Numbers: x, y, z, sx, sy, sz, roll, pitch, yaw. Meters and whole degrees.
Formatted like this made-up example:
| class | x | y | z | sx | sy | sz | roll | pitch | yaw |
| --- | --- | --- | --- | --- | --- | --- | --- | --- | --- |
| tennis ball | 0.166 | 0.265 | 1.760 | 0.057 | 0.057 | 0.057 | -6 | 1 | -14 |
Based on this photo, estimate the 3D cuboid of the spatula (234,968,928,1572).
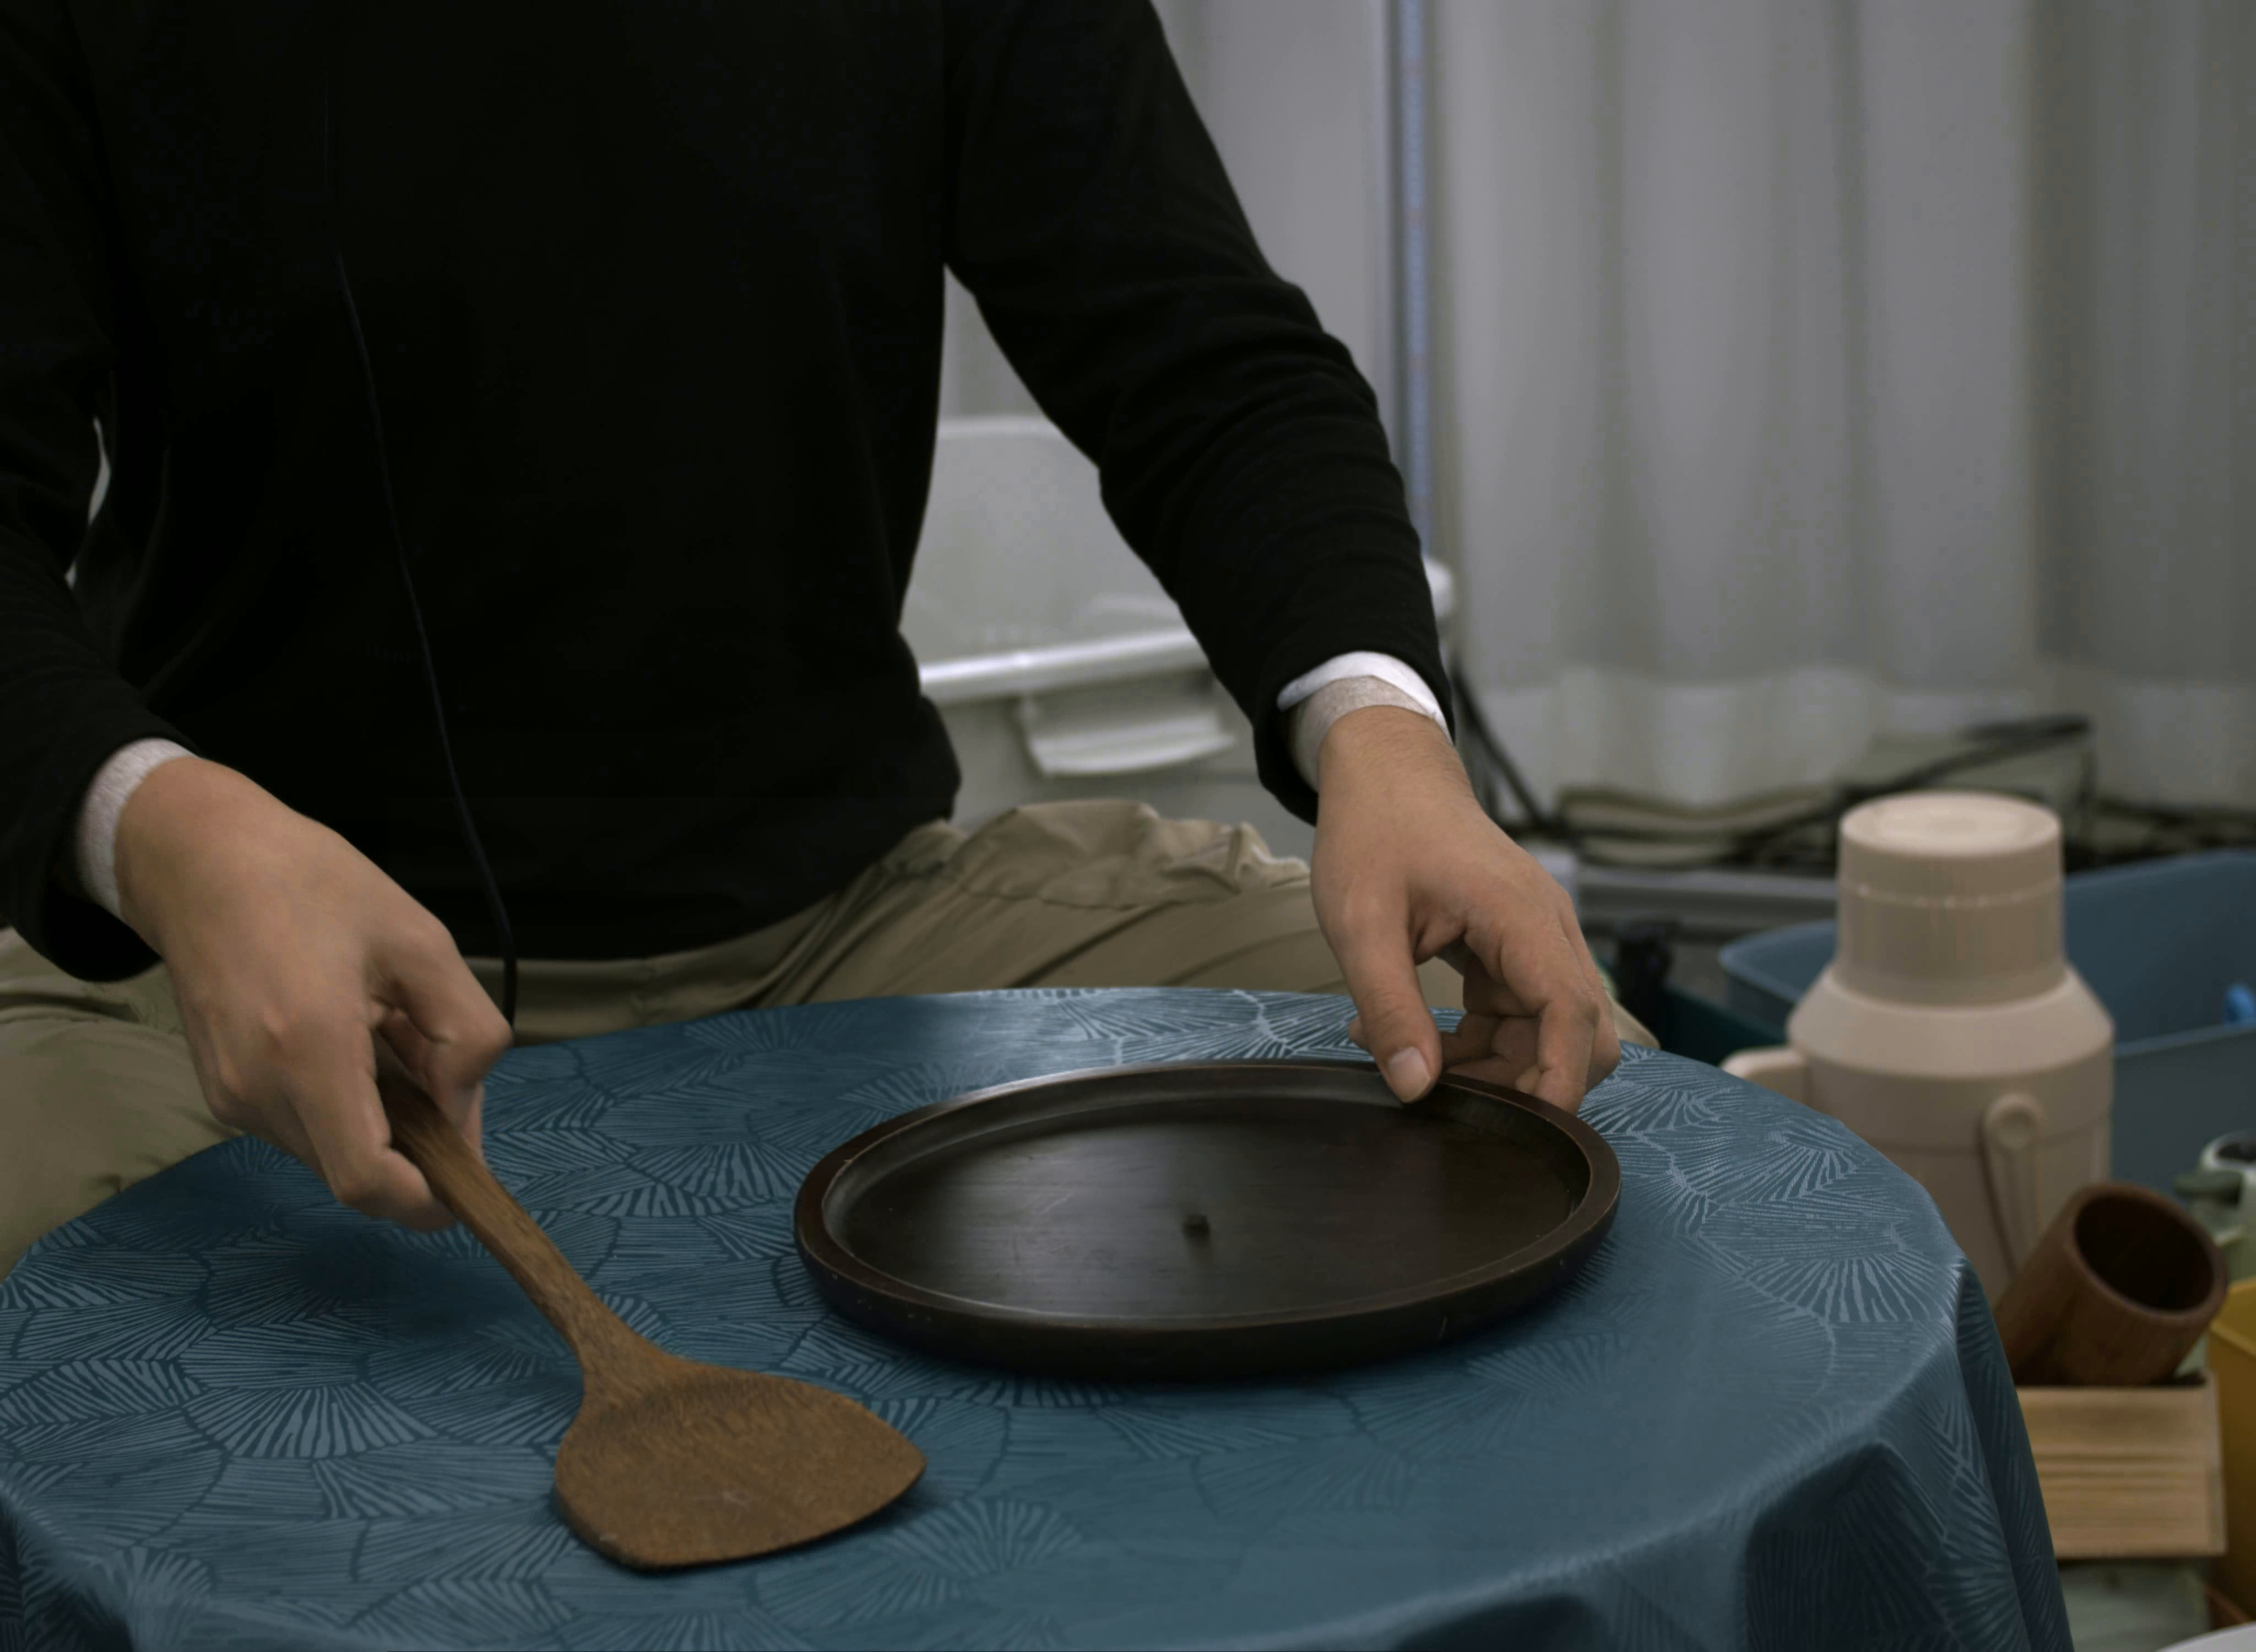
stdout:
| class | x | y | z | sx | sy | sz | roll | pitch | yaw |
| --- | --- | --- | --- | --- | --- | --- | --- | --- | --- |
| spatula | -0.181 | 0.119 | 1.592 | 0.096 | 0.015 | 0.390 | -14 | 29 | -26 |

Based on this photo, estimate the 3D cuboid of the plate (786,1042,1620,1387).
| class | x | y | z | sx | sy | sz | roll | pitch | yaw |
| --- | --- | --- | --- | --- | --- | --- | --- | --- | --- |
| plate | 0.023 | 0.117 | 1.653 | 0.254 | 0.029 | 0.256 | -4 | 15 | 1 |
